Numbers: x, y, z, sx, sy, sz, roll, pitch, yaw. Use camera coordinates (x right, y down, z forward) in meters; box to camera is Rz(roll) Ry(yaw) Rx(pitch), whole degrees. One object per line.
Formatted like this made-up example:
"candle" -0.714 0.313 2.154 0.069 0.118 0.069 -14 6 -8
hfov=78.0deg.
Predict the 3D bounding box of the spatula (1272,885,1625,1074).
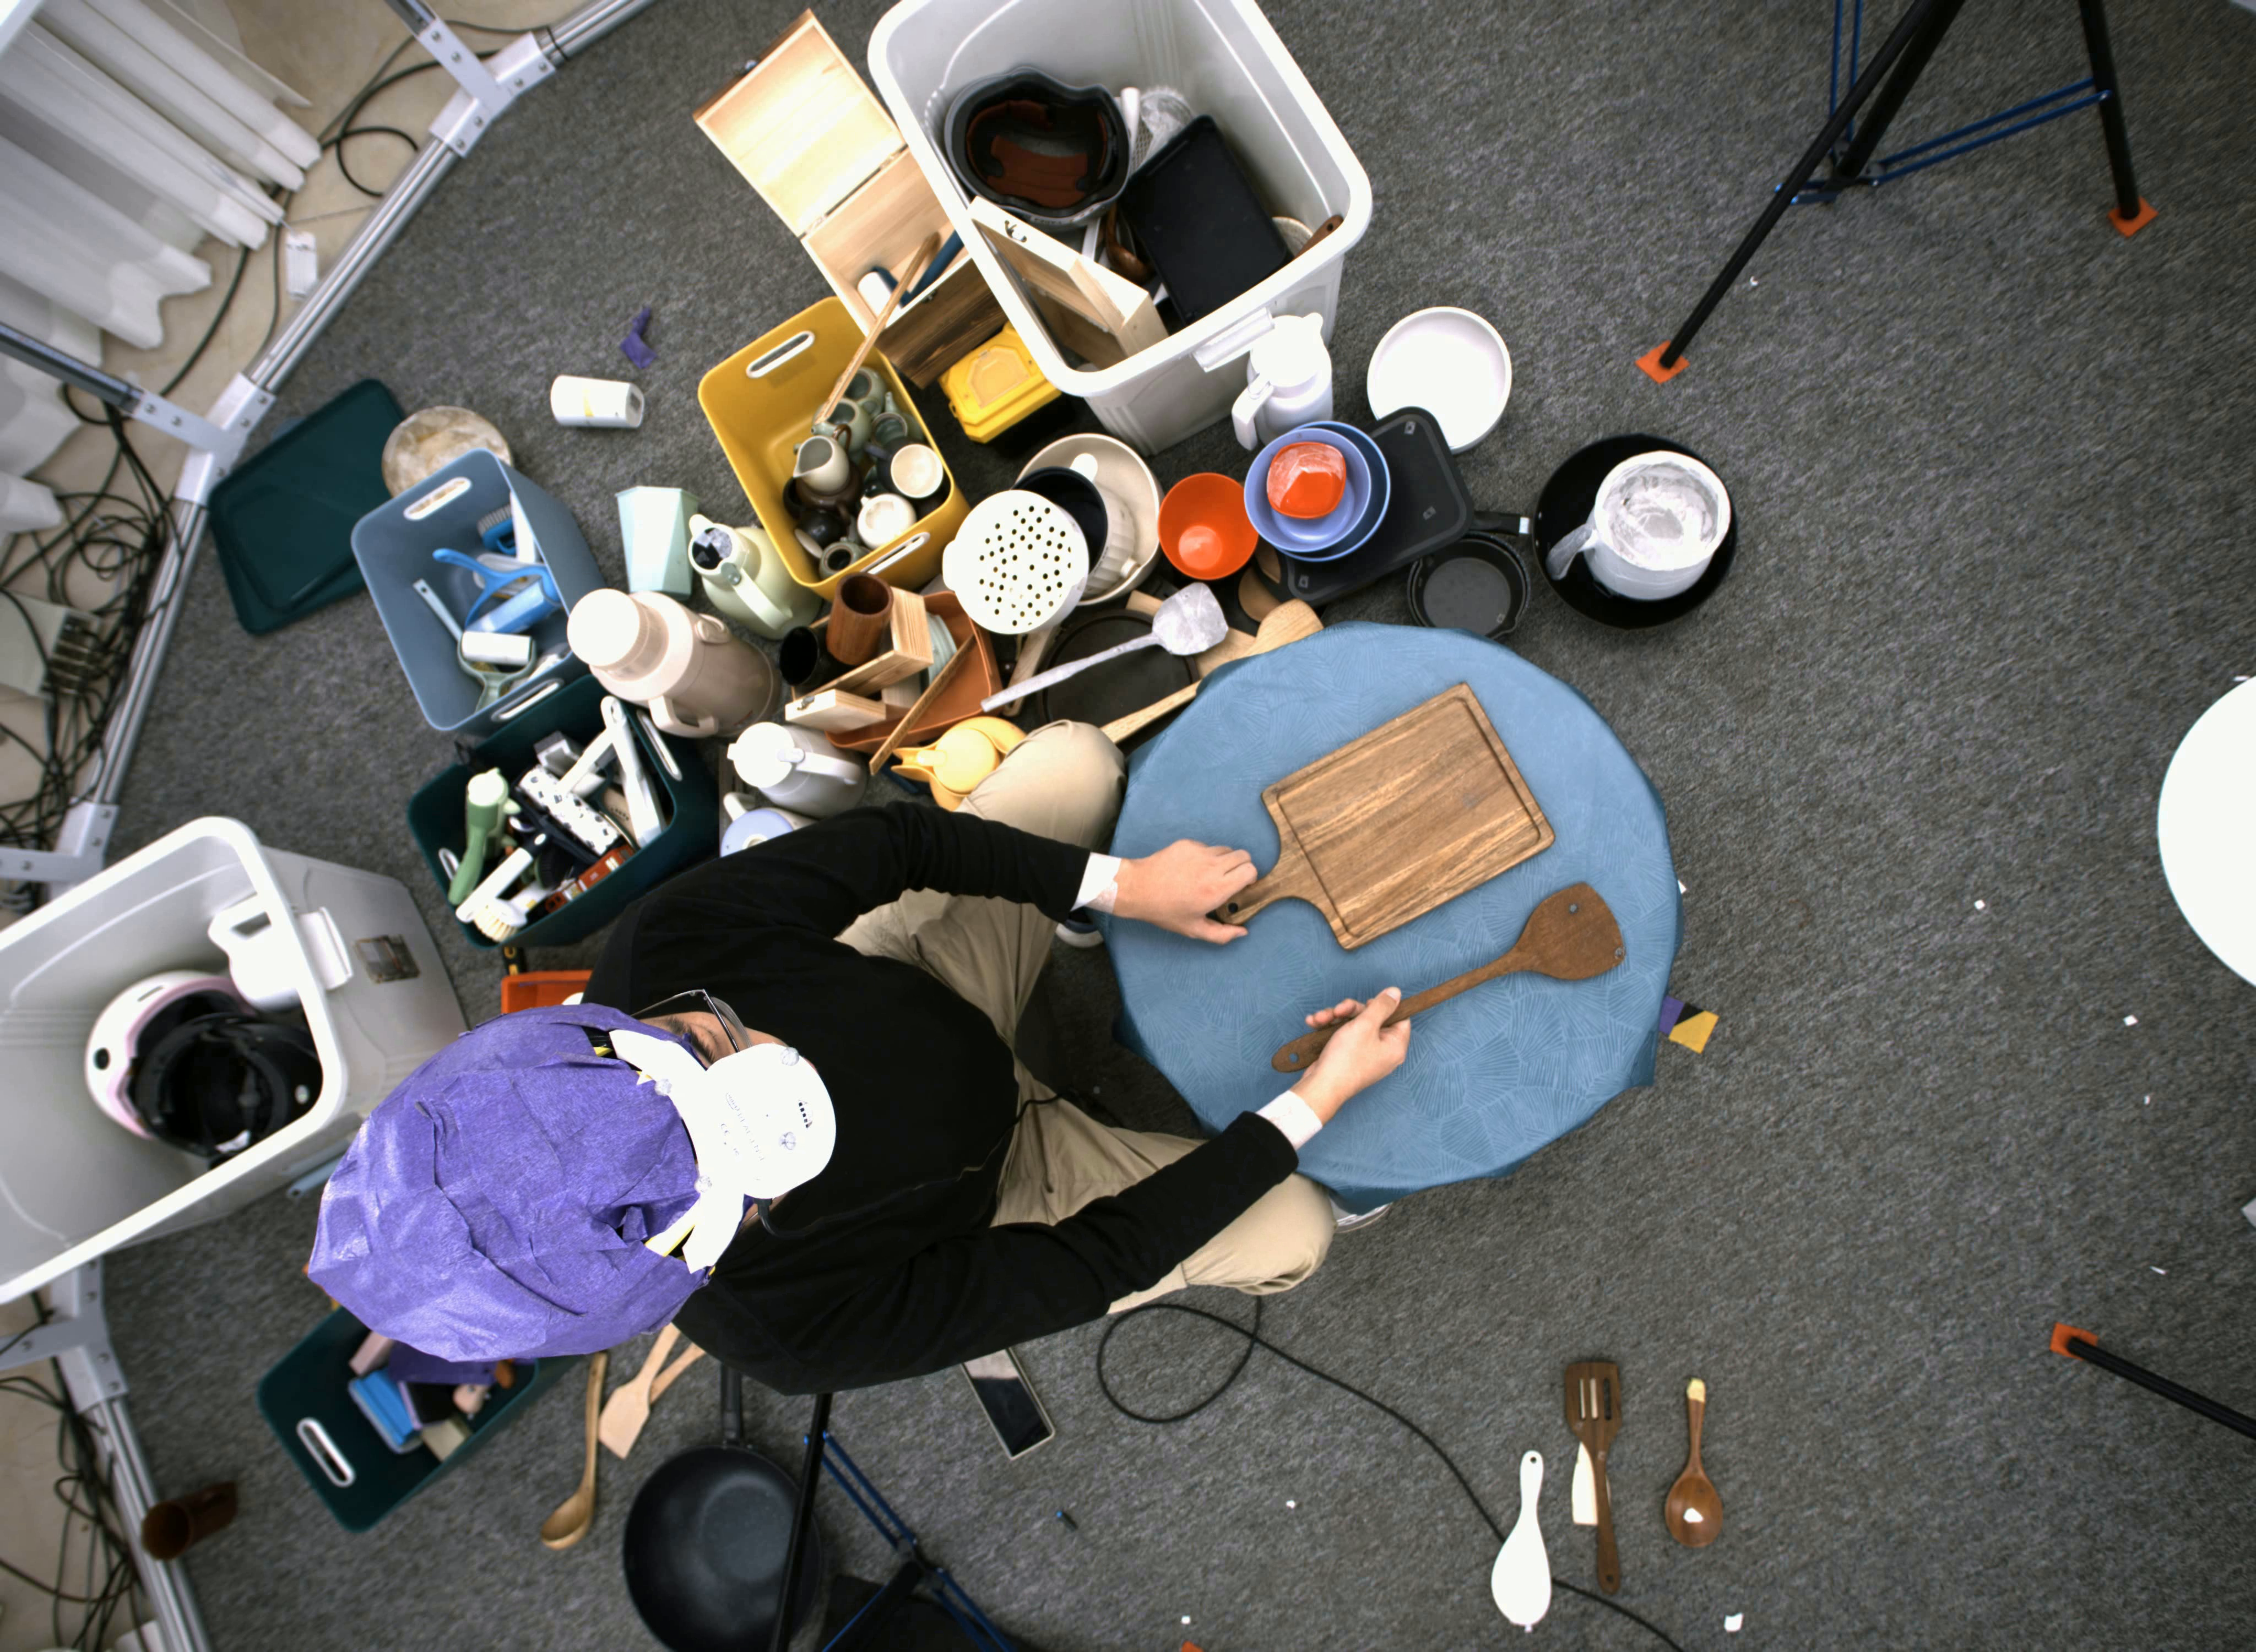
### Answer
"spatula" 0.323 0.167 1.403 0.385 0.016 0.095 -23 79 -4

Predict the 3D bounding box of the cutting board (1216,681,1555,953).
"cutting board" 0.248 0.012 1.457 0.354 0.023 0.200 -29 82 8
